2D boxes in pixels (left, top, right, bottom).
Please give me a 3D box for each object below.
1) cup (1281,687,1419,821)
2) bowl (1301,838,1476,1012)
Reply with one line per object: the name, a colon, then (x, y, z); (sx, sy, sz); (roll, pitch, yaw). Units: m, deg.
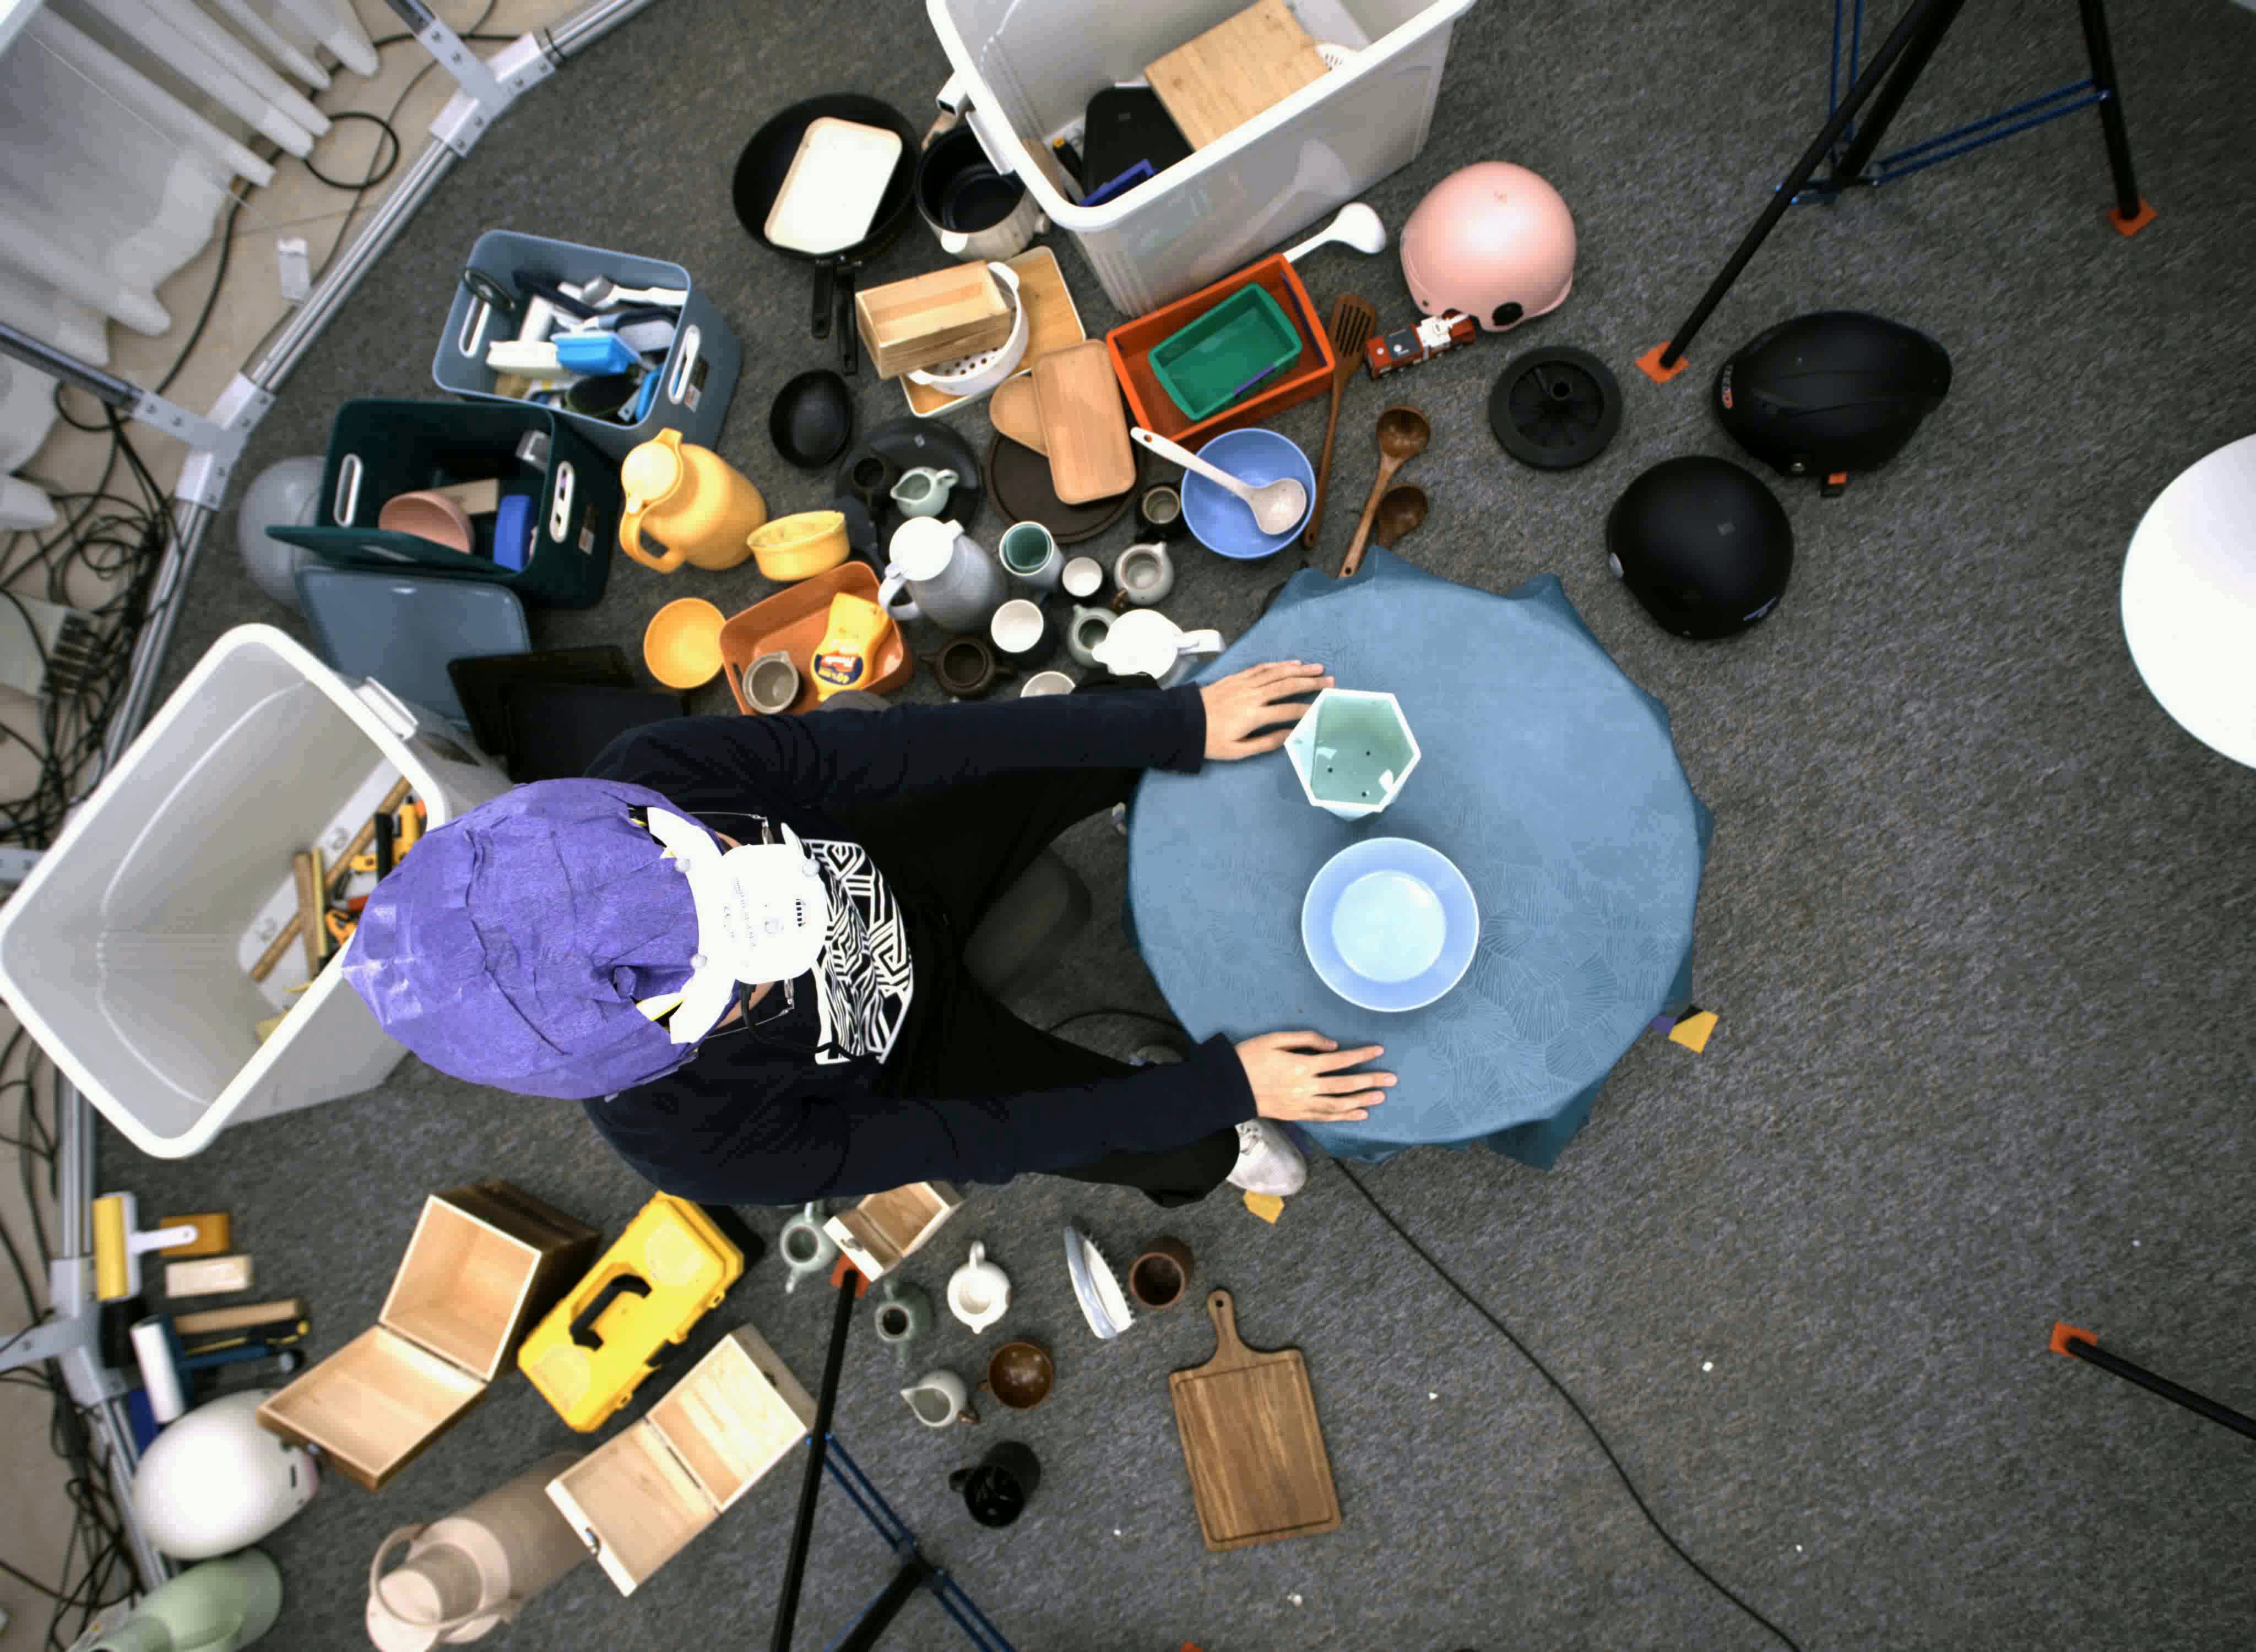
cup: (0.227, -0.067, 1.391); (0.116, 0.163, 0.130); (-26, 80, 8)
bowl: (0.267, 0.101, 1.422); (0.177, 0.070, 0.175); (-1, 86, 11)
